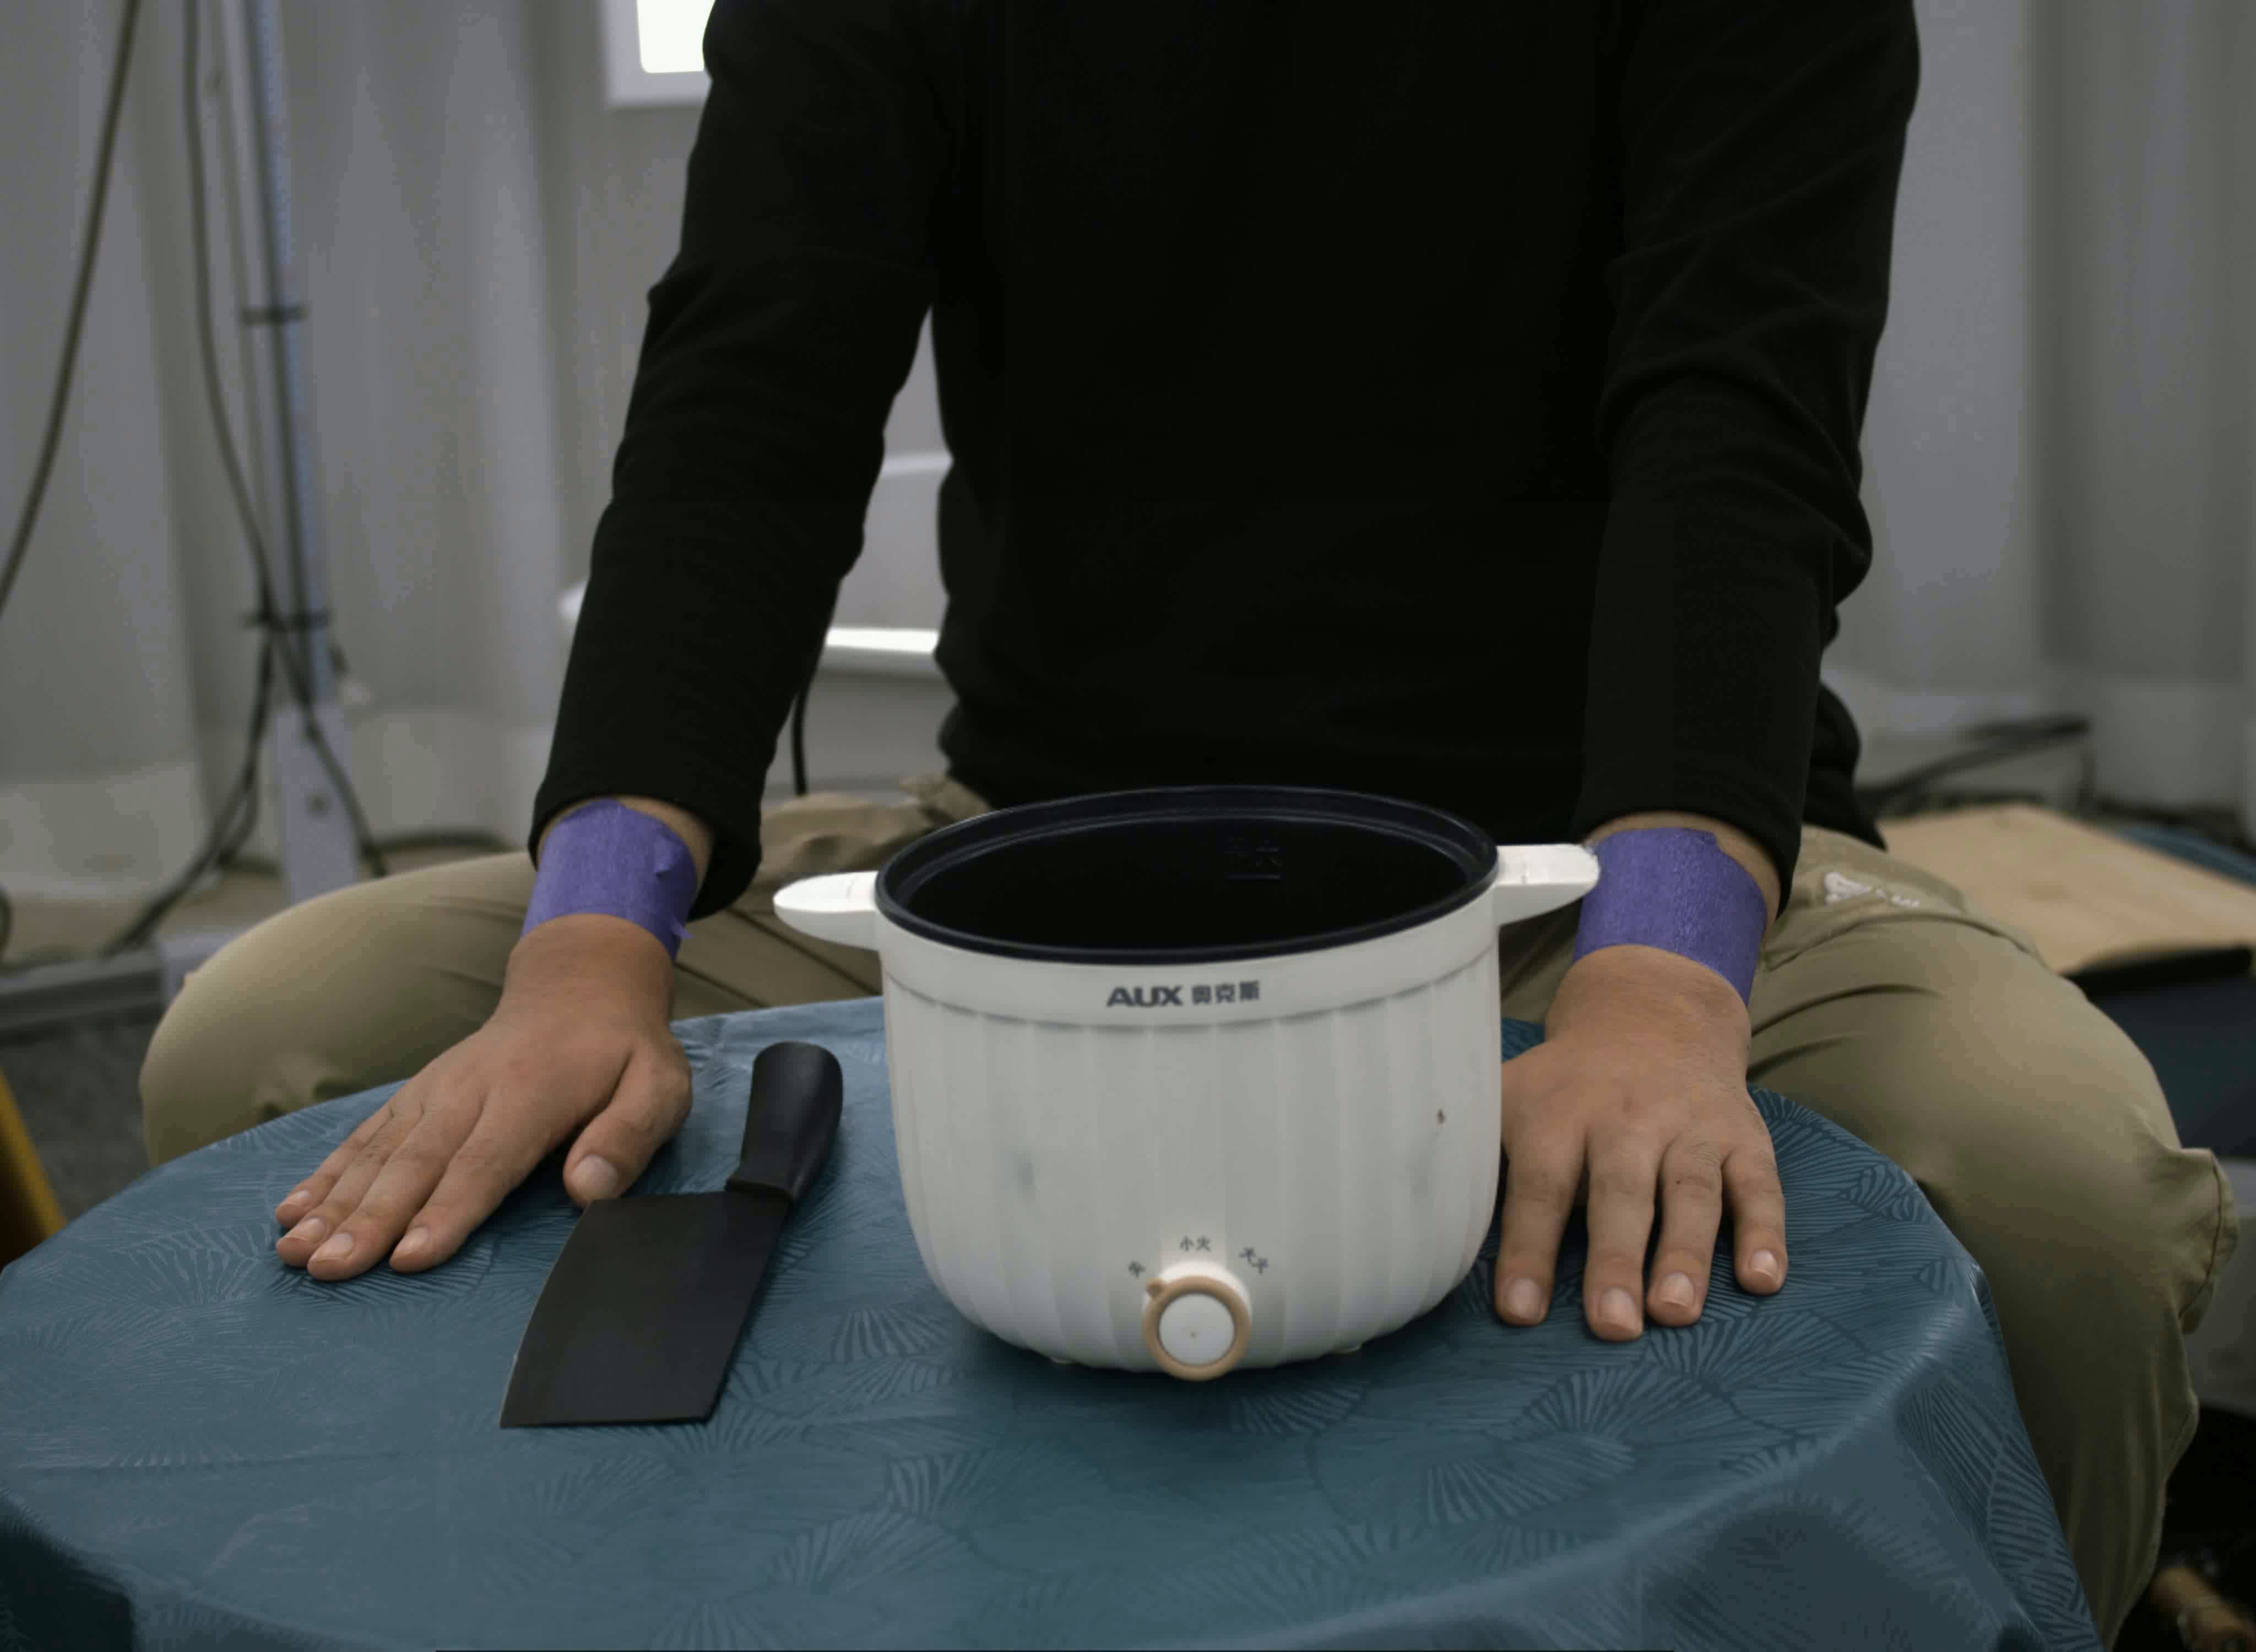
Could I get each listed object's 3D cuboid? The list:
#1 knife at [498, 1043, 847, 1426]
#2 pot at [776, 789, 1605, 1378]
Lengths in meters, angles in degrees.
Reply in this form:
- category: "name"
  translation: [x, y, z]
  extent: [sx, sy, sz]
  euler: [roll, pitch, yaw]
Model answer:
- category: "knife"
  translation: [-0.133, 0.124, 1.678]
  extent: [0.081, 0.021, 0.304]
  euler: [-1, 17, 10]
- category: "pot"
  translation: [0.022, 0.077, 1.587]
  extent: [0.239, 0.142, 0.191]
  euler: [-3, 11, 2]
